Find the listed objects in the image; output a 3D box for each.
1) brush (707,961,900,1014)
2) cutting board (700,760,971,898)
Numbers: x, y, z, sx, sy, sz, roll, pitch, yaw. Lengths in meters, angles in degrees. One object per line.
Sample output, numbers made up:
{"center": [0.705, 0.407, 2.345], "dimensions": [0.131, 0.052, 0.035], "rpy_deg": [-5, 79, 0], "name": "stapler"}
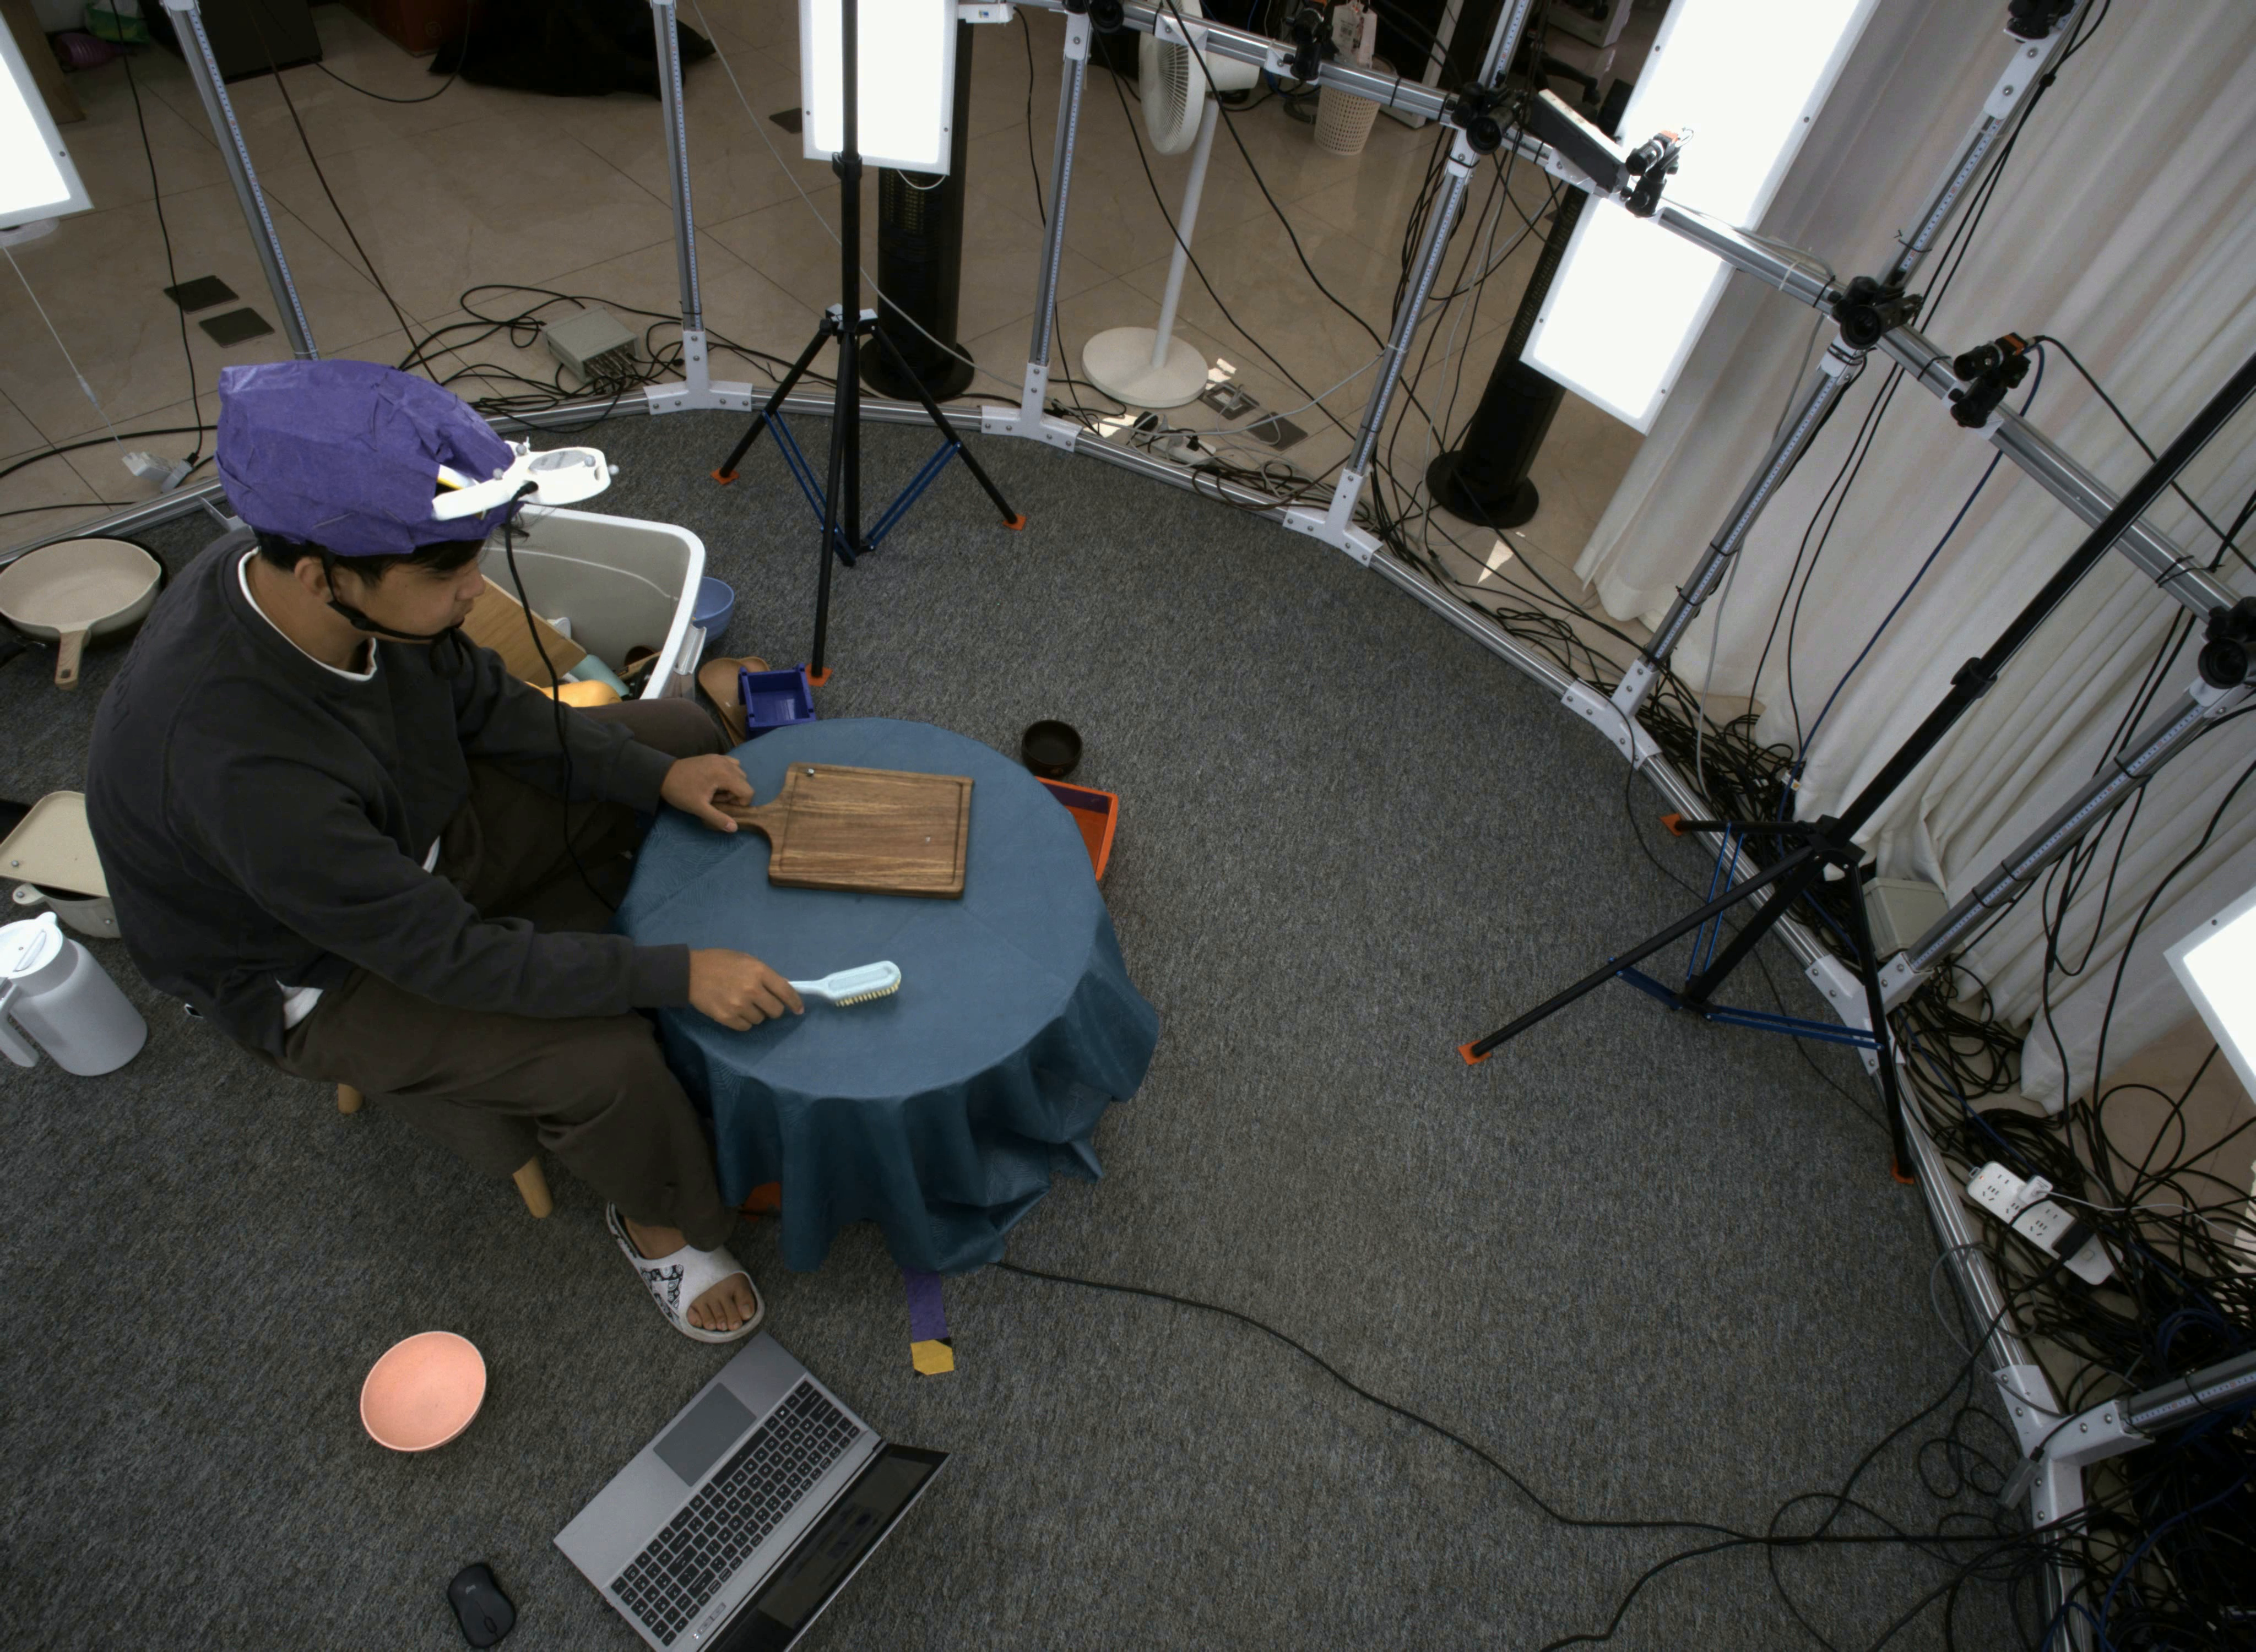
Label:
{"center": [-0.386, 0.199, 1.552], "dimensions": [0.229, 0.051, 0.037], "rpy_deg": [-8, 54, -18], "name": "brush"}
{"center": [-0.387, -0.003, 1.719], "dimensions": [0.351, 0.023, 0.197], "rpy_deg": [5, 52, -10], "name": "cutting board"}
